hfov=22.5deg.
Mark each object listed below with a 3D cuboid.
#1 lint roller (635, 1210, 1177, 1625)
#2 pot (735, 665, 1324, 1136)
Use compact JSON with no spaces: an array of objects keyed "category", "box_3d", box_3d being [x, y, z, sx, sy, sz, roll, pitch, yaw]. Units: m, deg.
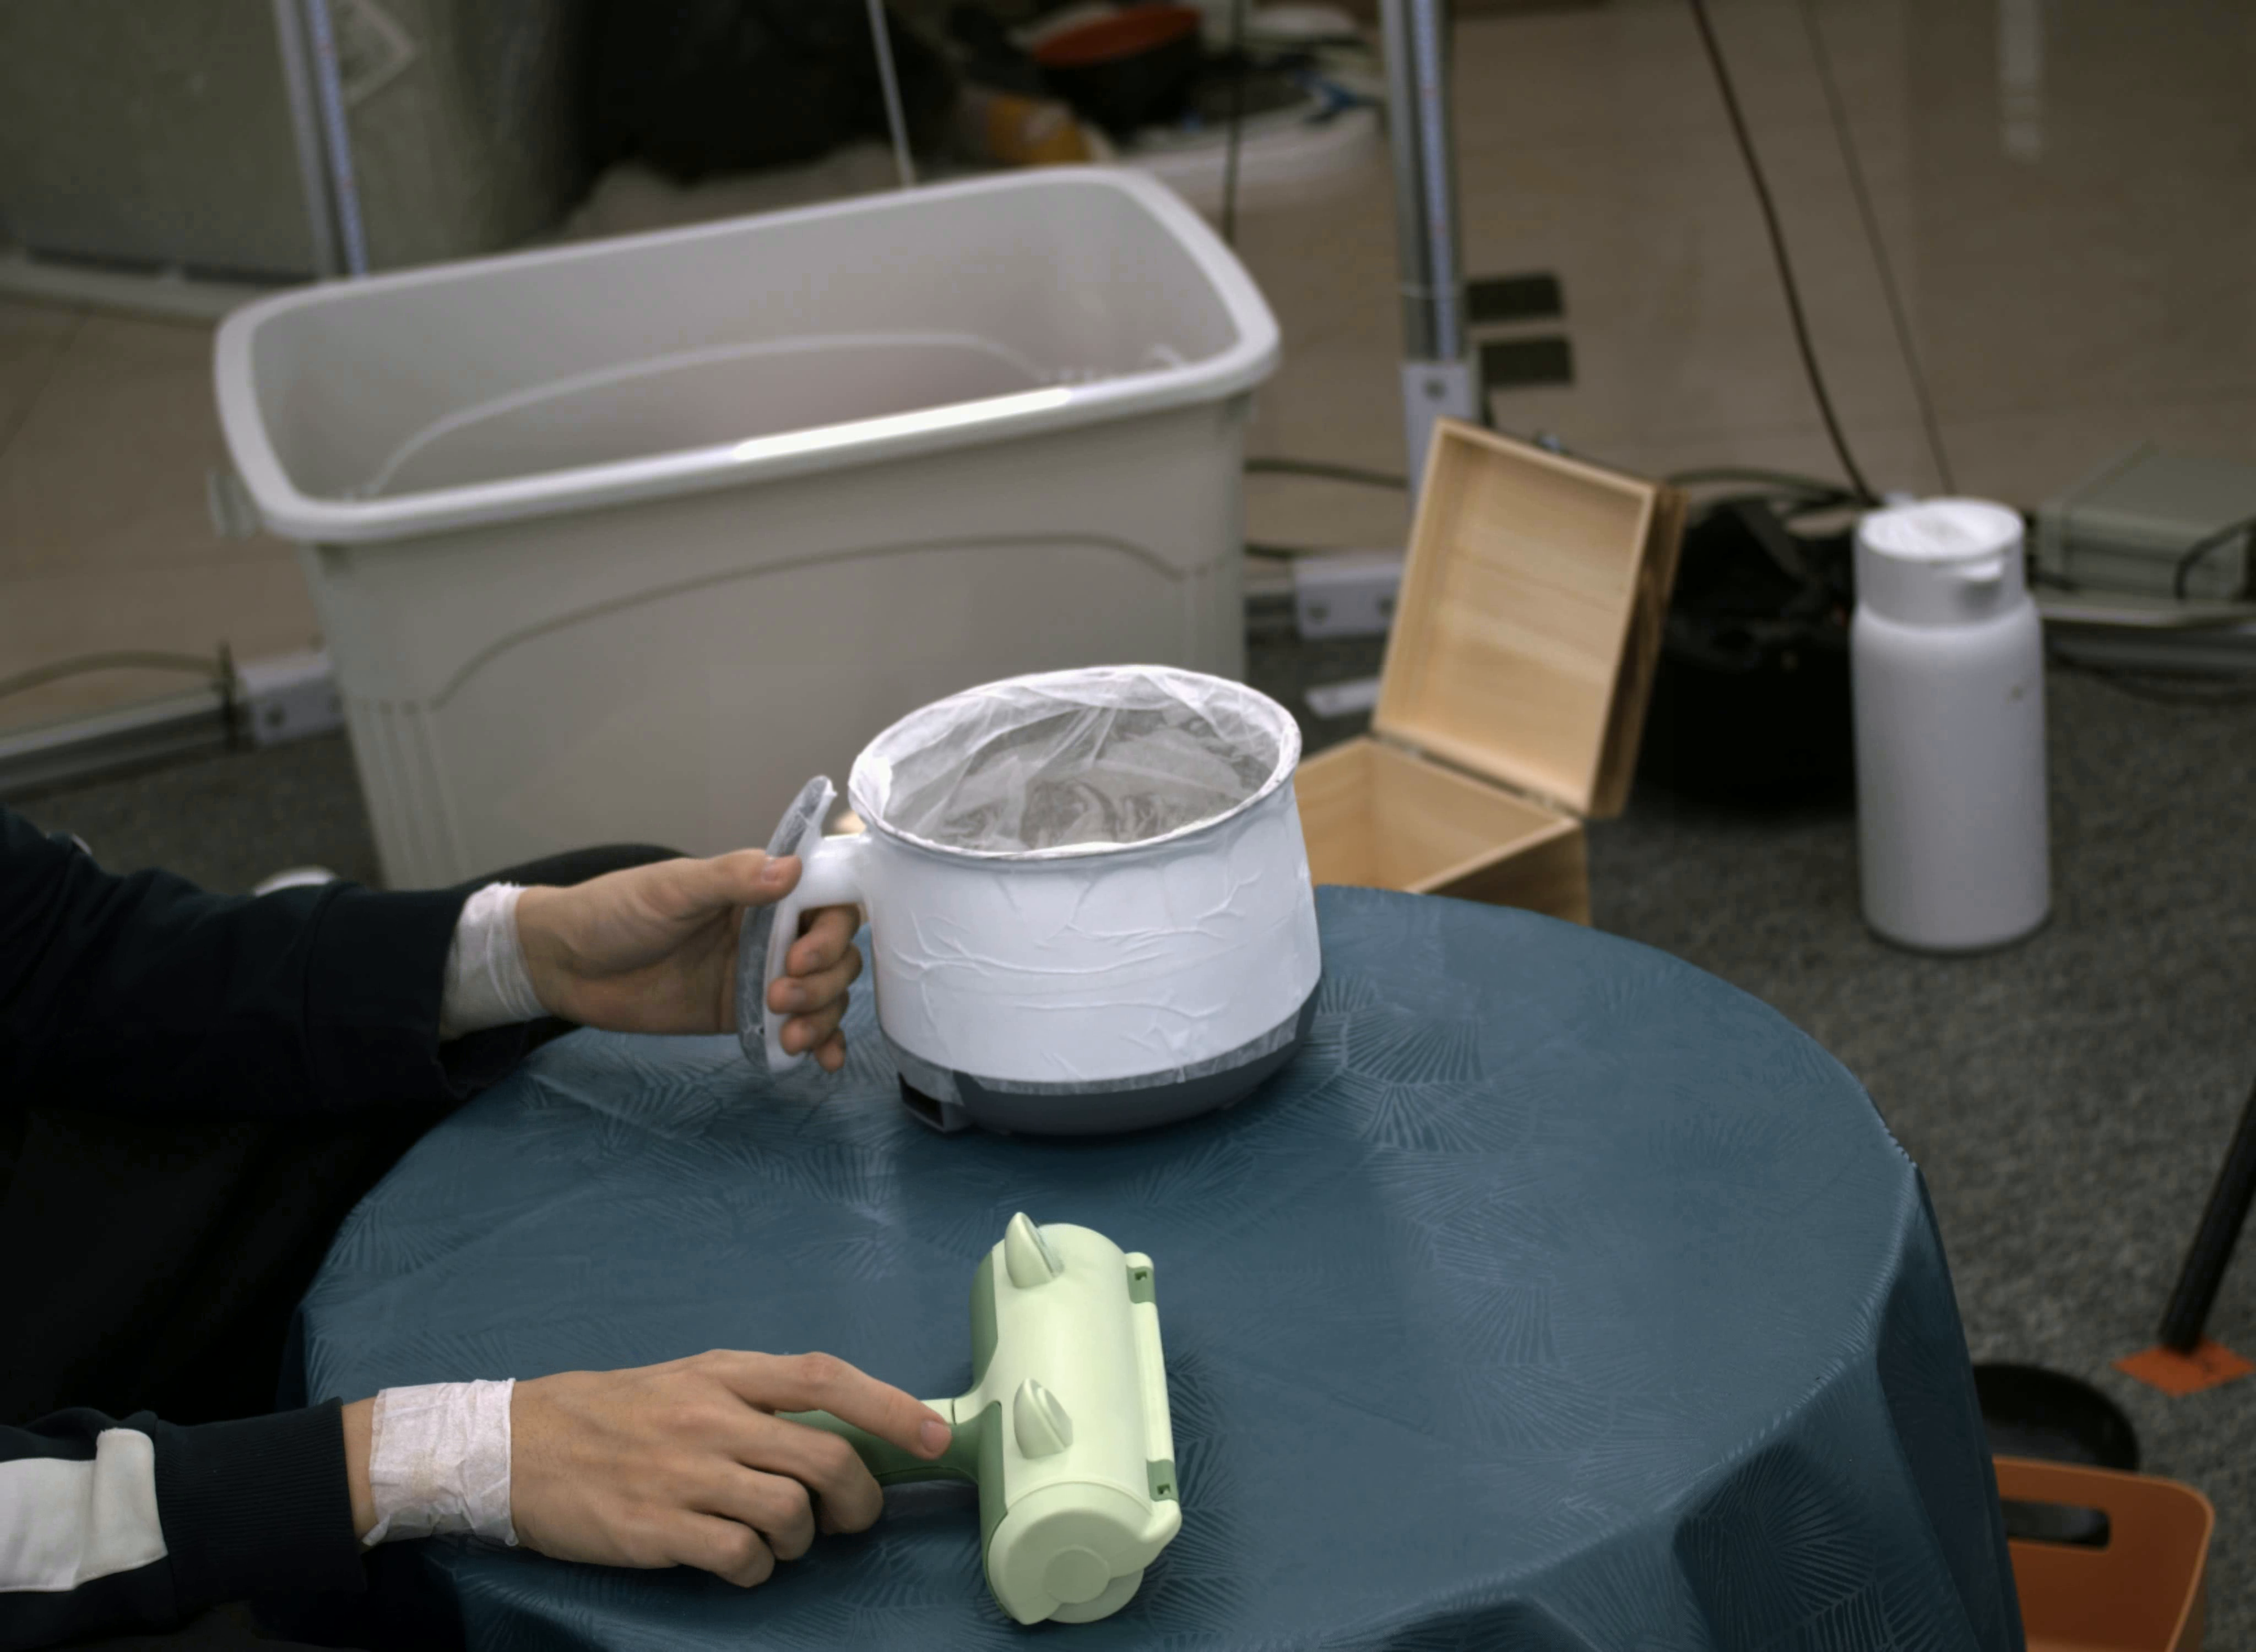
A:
[{"category":"lint roller","box_3d":[-0.079,0.198,1.947,0.183,0.083,0.195,-2,25,-2]},{"category":"pot","box_3d":[-0.041,0.034,2.215,0.233,0.139,0.176,-7,25,-1]}]
